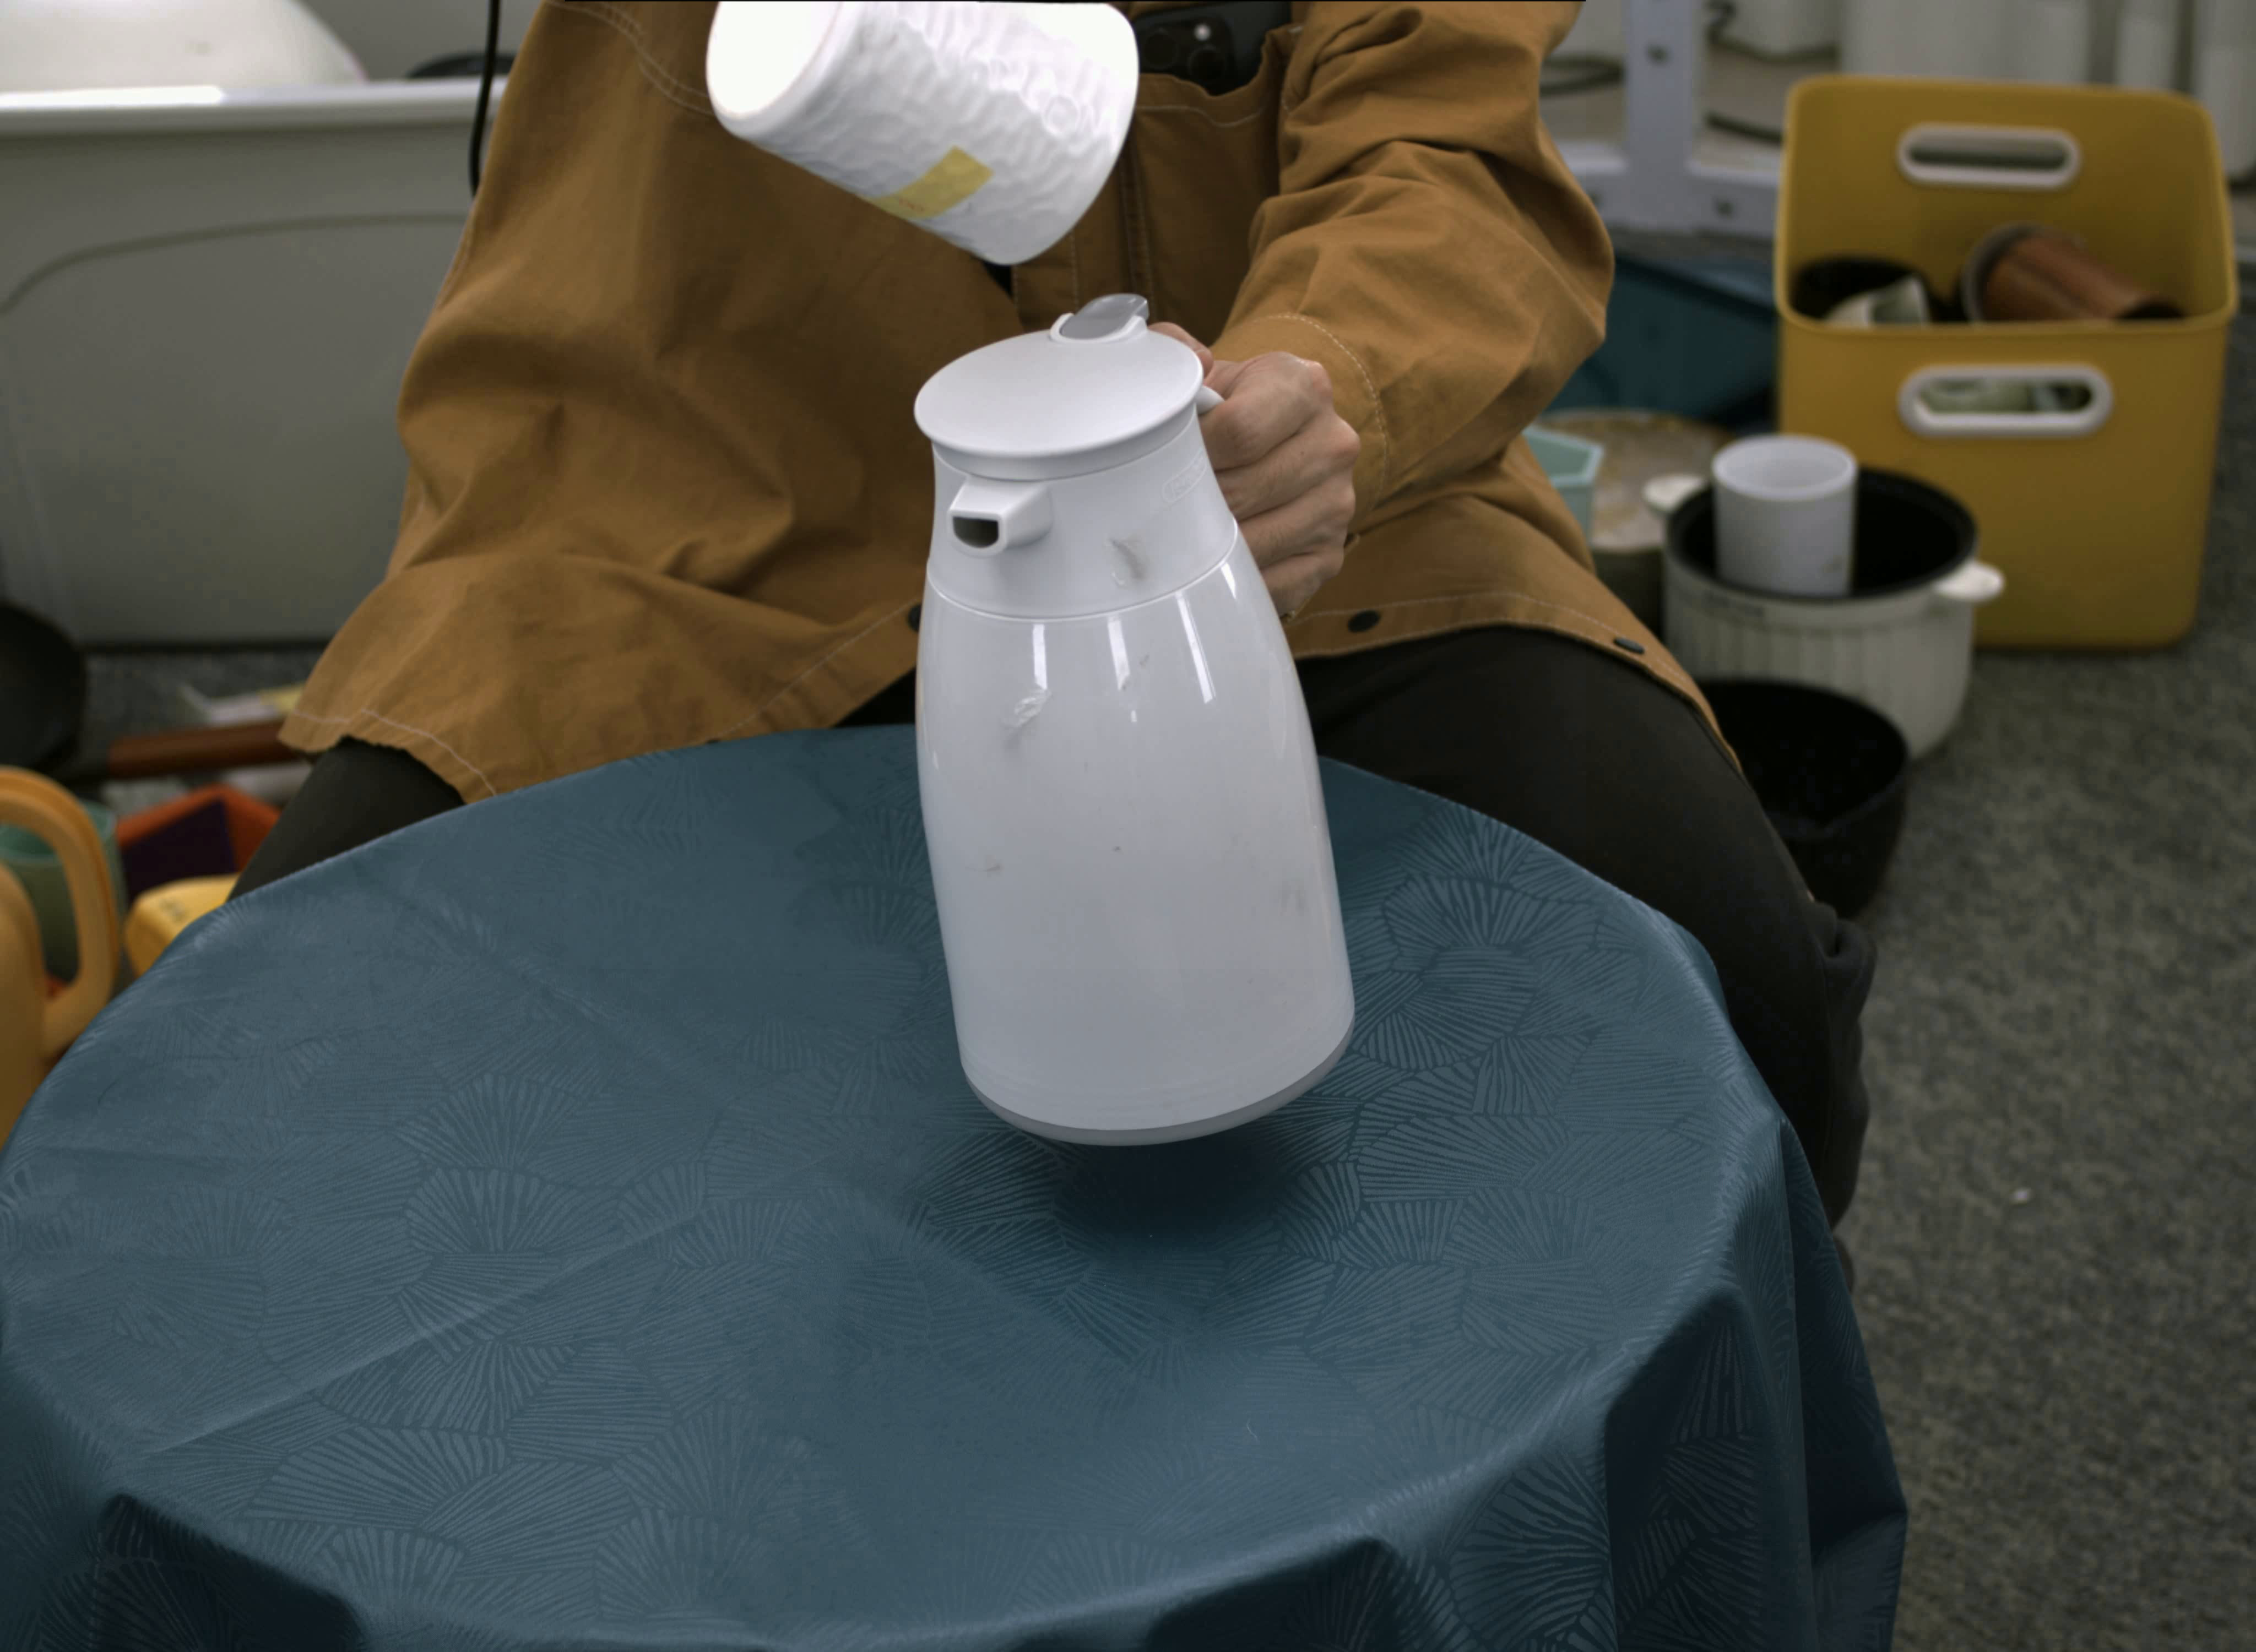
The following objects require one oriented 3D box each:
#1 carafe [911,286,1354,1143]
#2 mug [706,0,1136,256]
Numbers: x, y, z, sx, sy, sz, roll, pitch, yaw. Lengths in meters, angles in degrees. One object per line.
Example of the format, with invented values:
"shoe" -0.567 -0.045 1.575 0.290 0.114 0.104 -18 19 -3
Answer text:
"carafe" 0.000 -0.047 1.823 0.131 0.246 0.170 4 29 25
"mug" -0.065 -0.241 1.692 0.101 0.083 0.120 24 39 -33
